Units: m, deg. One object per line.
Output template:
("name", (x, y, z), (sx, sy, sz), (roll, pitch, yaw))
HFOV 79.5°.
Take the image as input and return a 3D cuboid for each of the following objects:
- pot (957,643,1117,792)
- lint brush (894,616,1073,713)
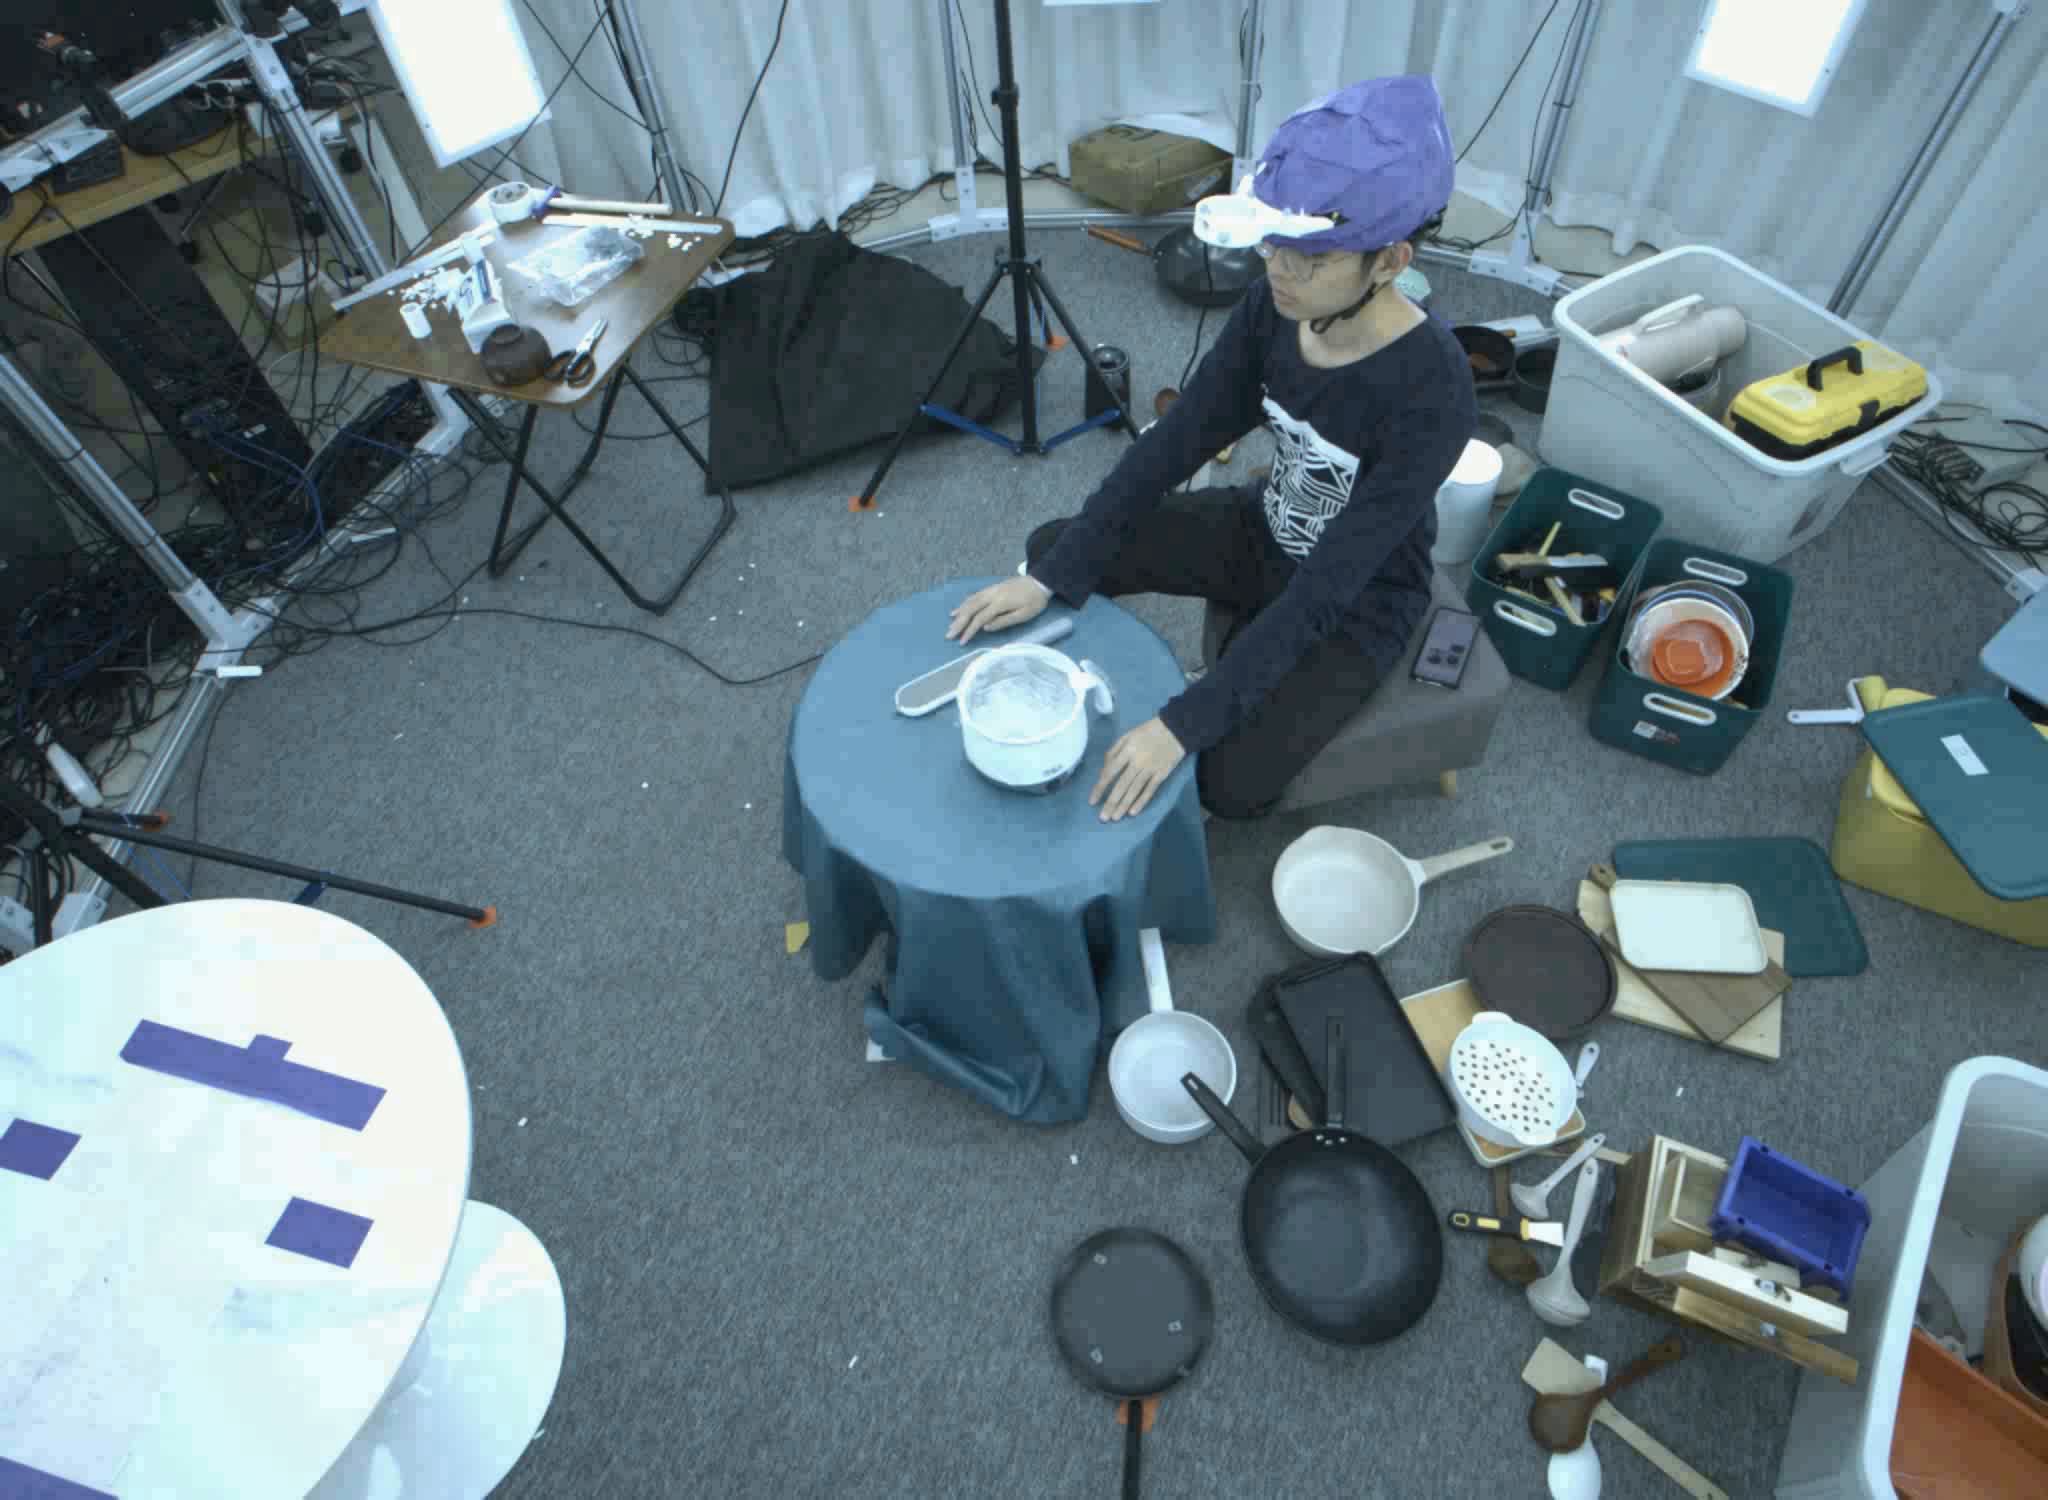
("pot", (0.024, -0.055, 1.747), (0.235, 0.138, 0.175), (-25, 59, -15))
("lint brush", (-0.058, -0.133, 1.876), (0.311, 0.021, 0.059), (-27, 51, -17))
